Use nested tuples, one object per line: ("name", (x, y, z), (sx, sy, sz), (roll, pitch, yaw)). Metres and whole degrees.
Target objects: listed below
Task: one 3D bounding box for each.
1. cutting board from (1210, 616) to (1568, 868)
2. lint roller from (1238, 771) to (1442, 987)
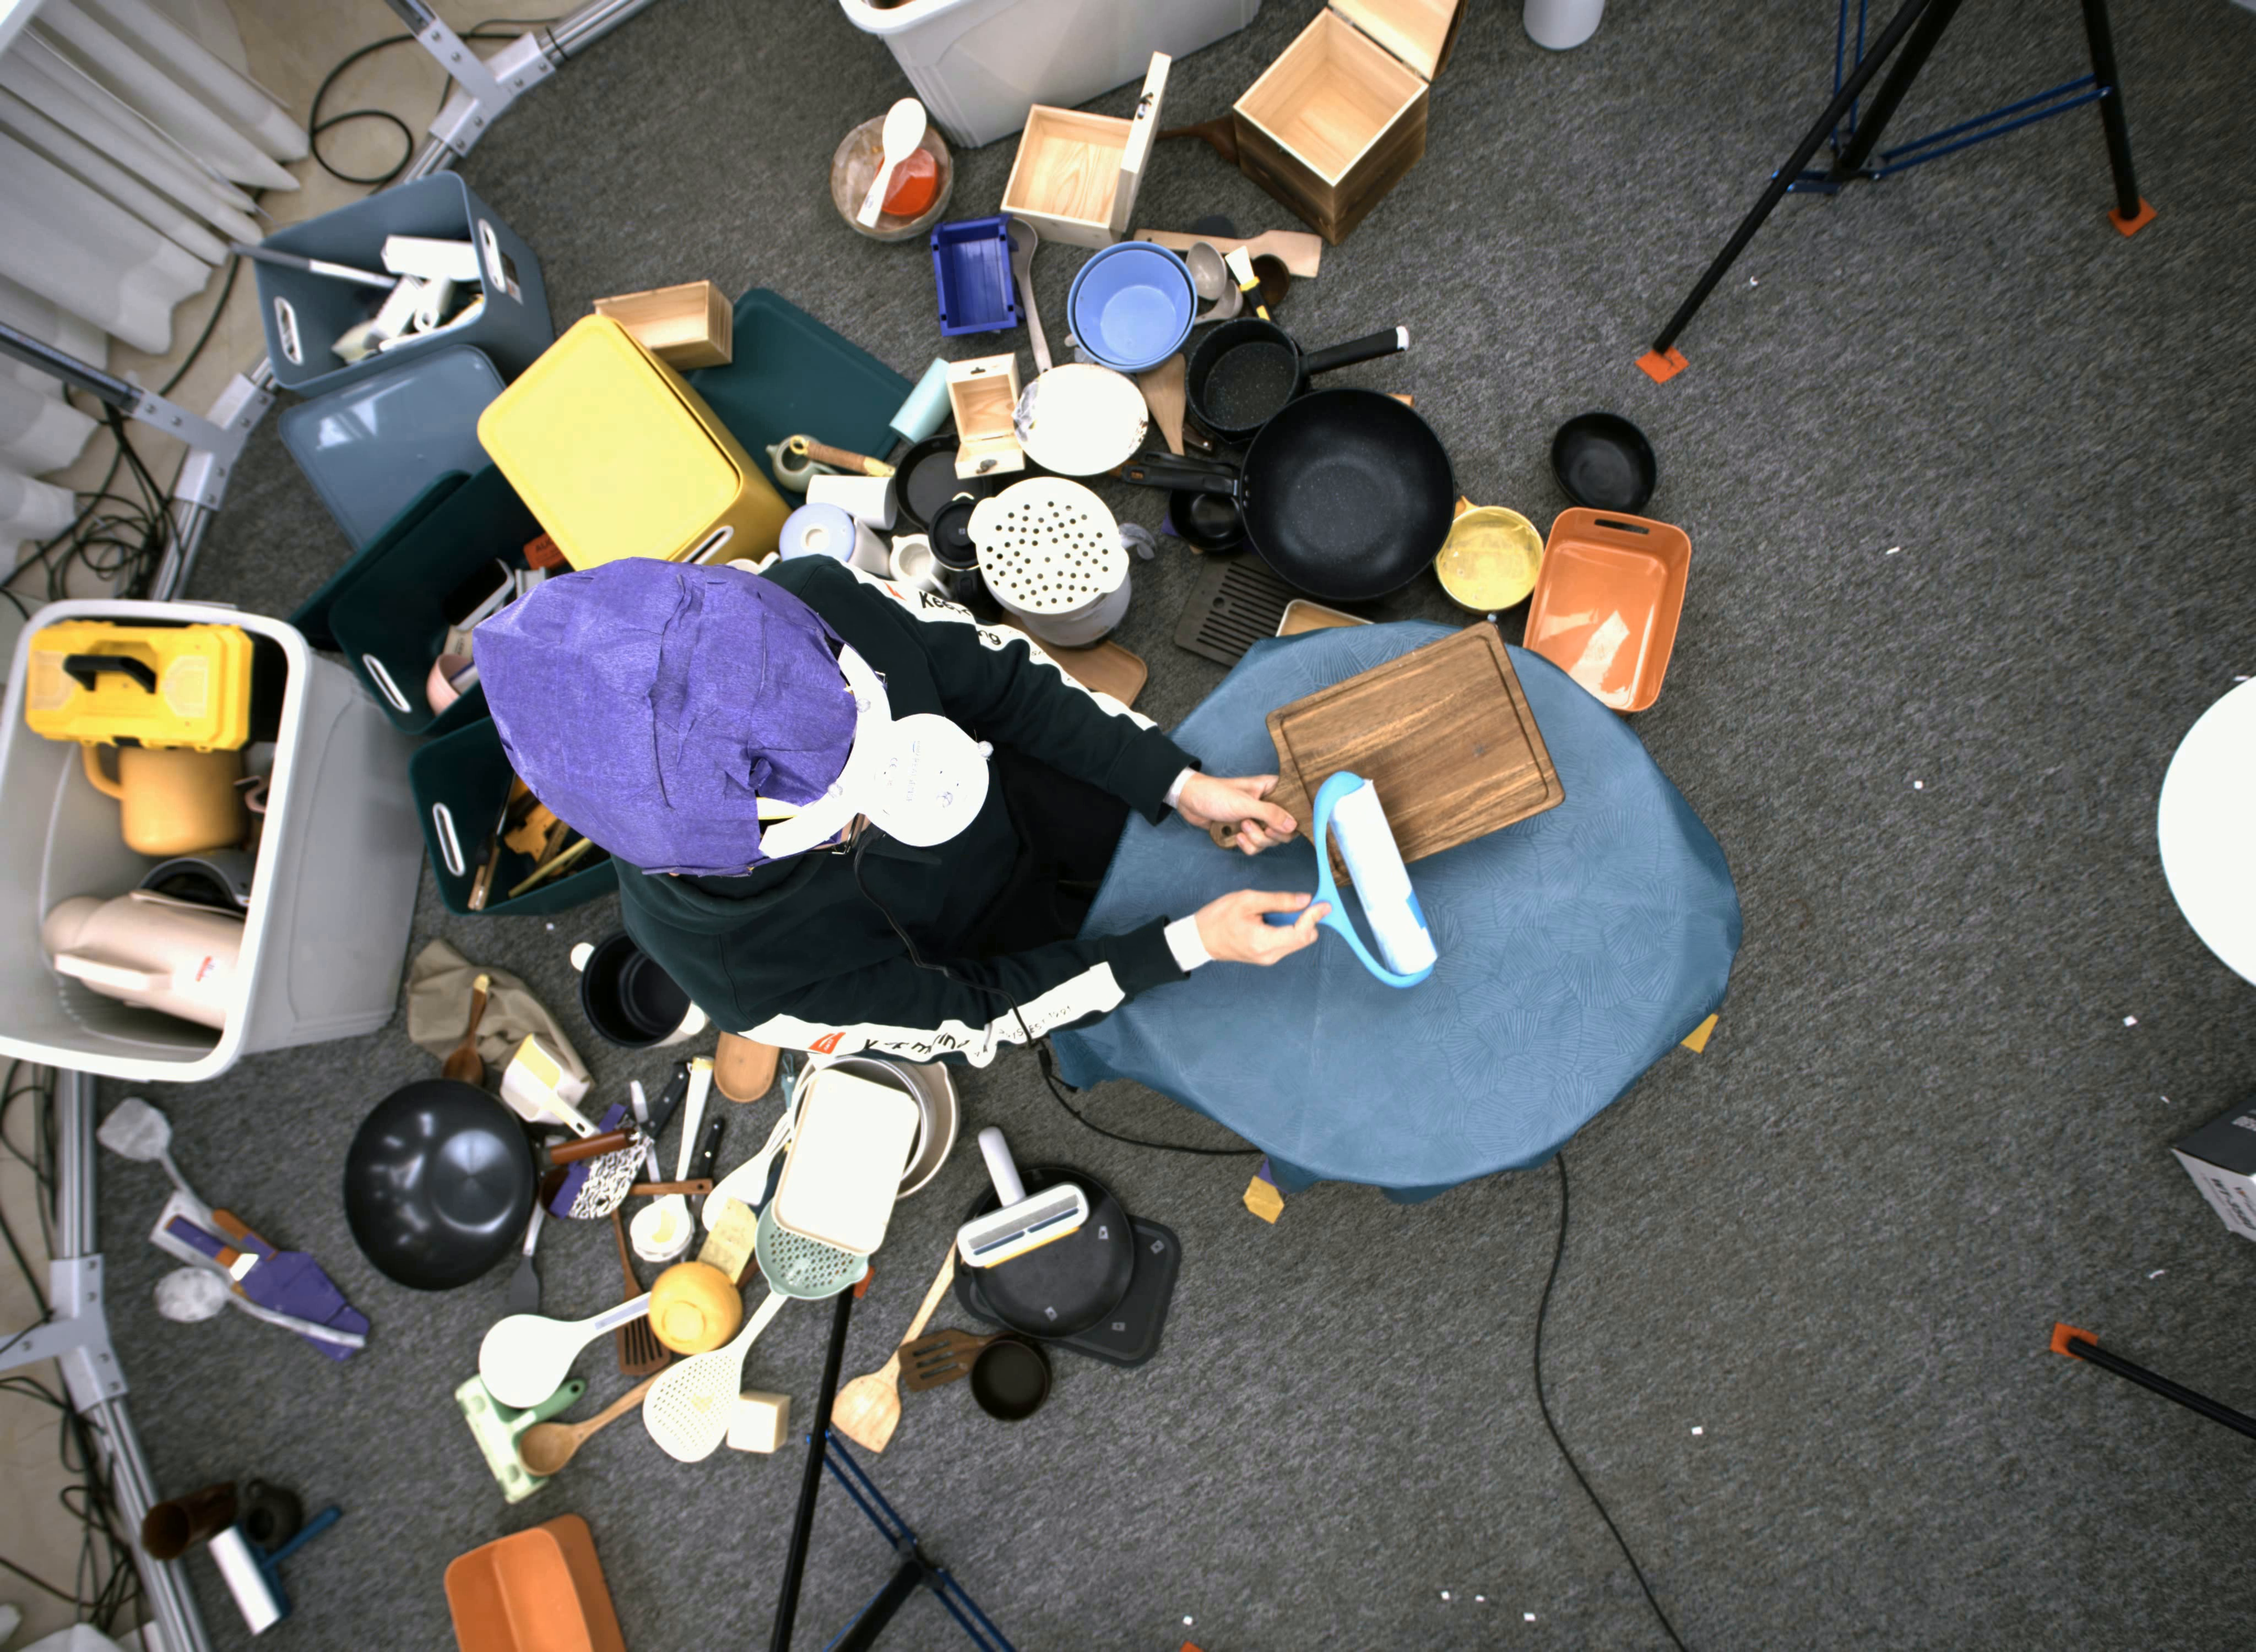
("cutting board", (0.241, -0.053, 1.391), (0.356, 0.023, 0.200), (-23, 88, 21))
("lint roller", (0.196, 0.076, 1.367), (0.181, 0.067, 0.231), (-25, 105, 9))
